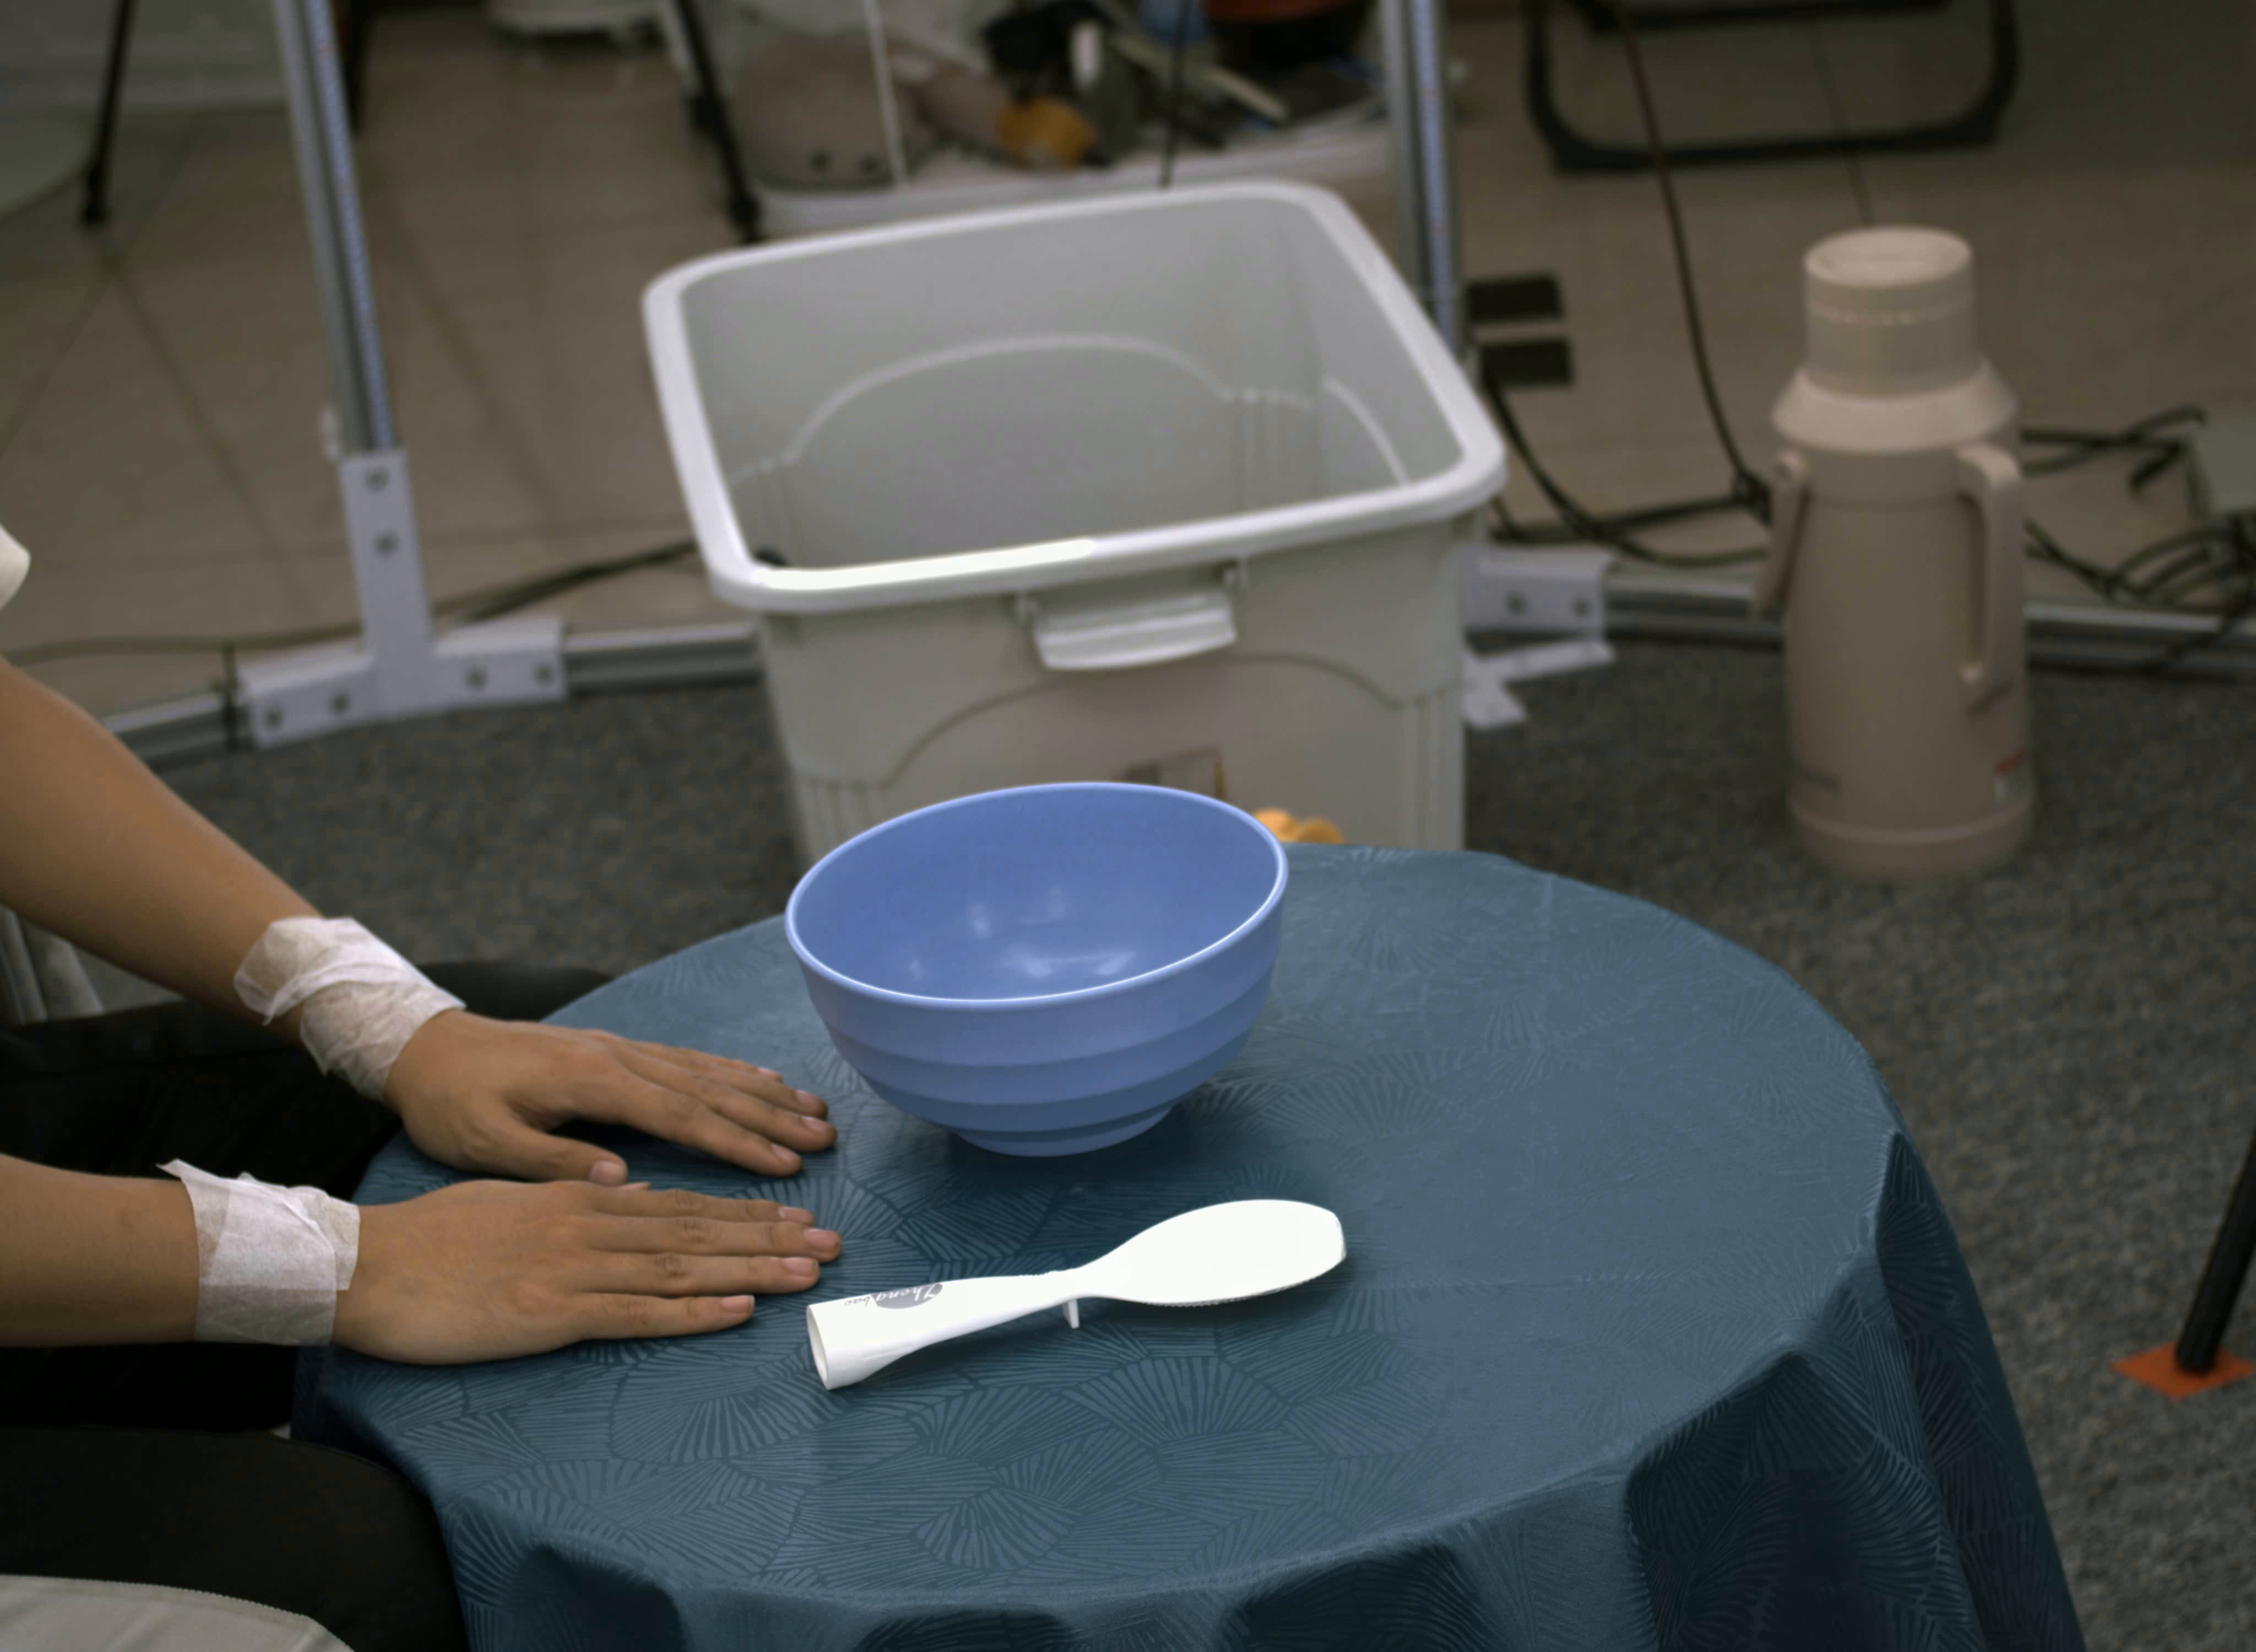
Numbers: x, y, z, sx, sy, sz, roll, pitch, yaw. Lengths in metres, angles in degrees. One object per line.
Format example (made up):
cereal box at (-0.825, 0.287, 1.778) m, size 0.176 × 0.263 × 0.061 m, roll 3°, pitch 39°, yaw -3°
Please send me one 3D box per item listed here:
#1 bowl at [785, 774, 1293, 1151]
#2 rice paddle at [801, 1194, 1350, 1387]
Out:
bowl at (-0.032, 0.064, 2.203) m, size 0.196 × 0.097 × 0.193 m, roll -3°, pitch 26°, yaw 1°
rice paddle at (-0.017, 0.165, 2.063) m, size 0.204 × 0.030 × 0.068 m, roll -12°, pitch 28°, yaw -12°
